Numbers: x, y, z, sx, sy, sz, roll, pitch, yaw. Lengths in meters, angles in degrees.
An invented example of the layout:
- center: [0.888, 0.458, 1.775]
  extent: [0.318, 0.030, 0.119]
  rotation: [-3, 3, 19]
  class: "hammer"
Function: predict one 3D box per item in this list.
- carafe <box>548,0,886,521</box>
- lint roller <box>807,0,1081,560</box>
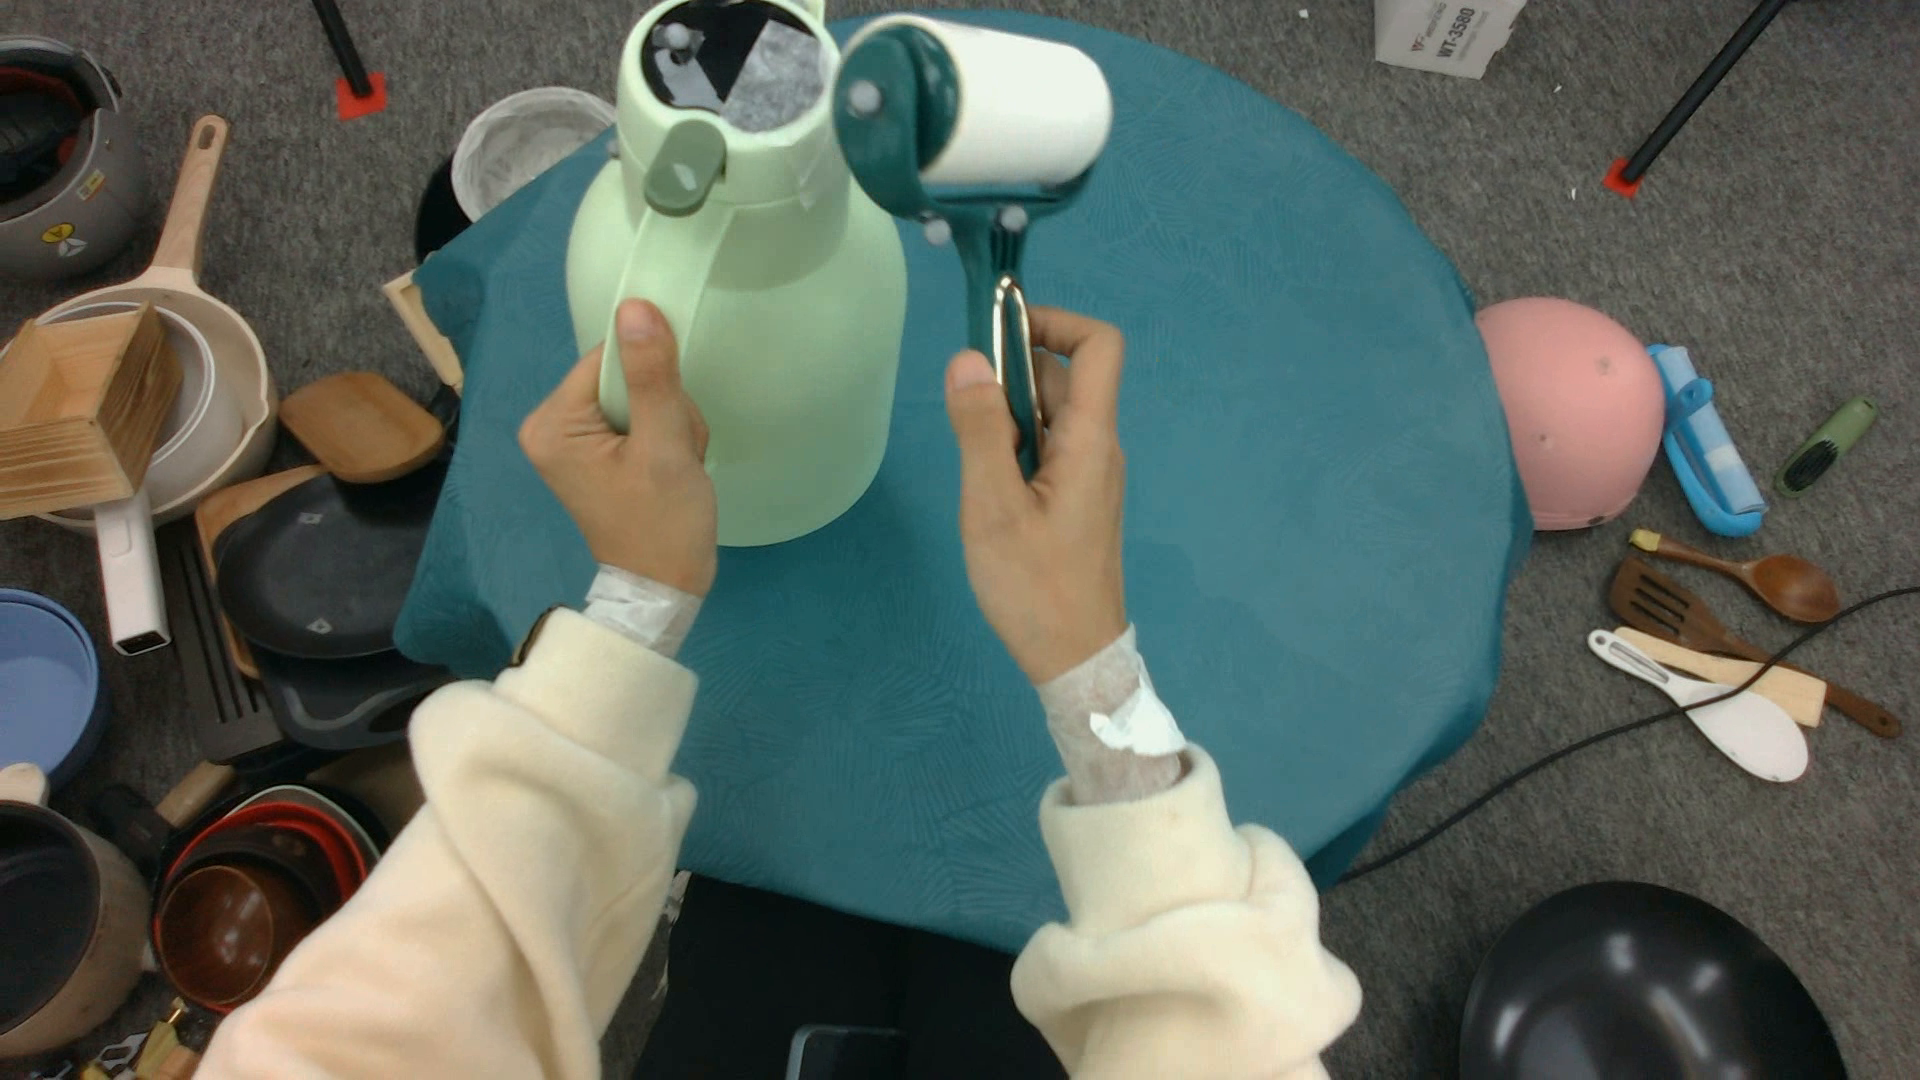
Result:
- center: [-0.106, -0.106, 0.578]
  extent: [0.144, 0.255, 0.187]
  rotation: [19, 67, -2]
  class: "carafe"
- center: [0.012, -0.083, 0.454]
  extent: [0.135, 0.048, 0.180]
  rotation: [-24, 102, -57]
  class: "lint roller"
